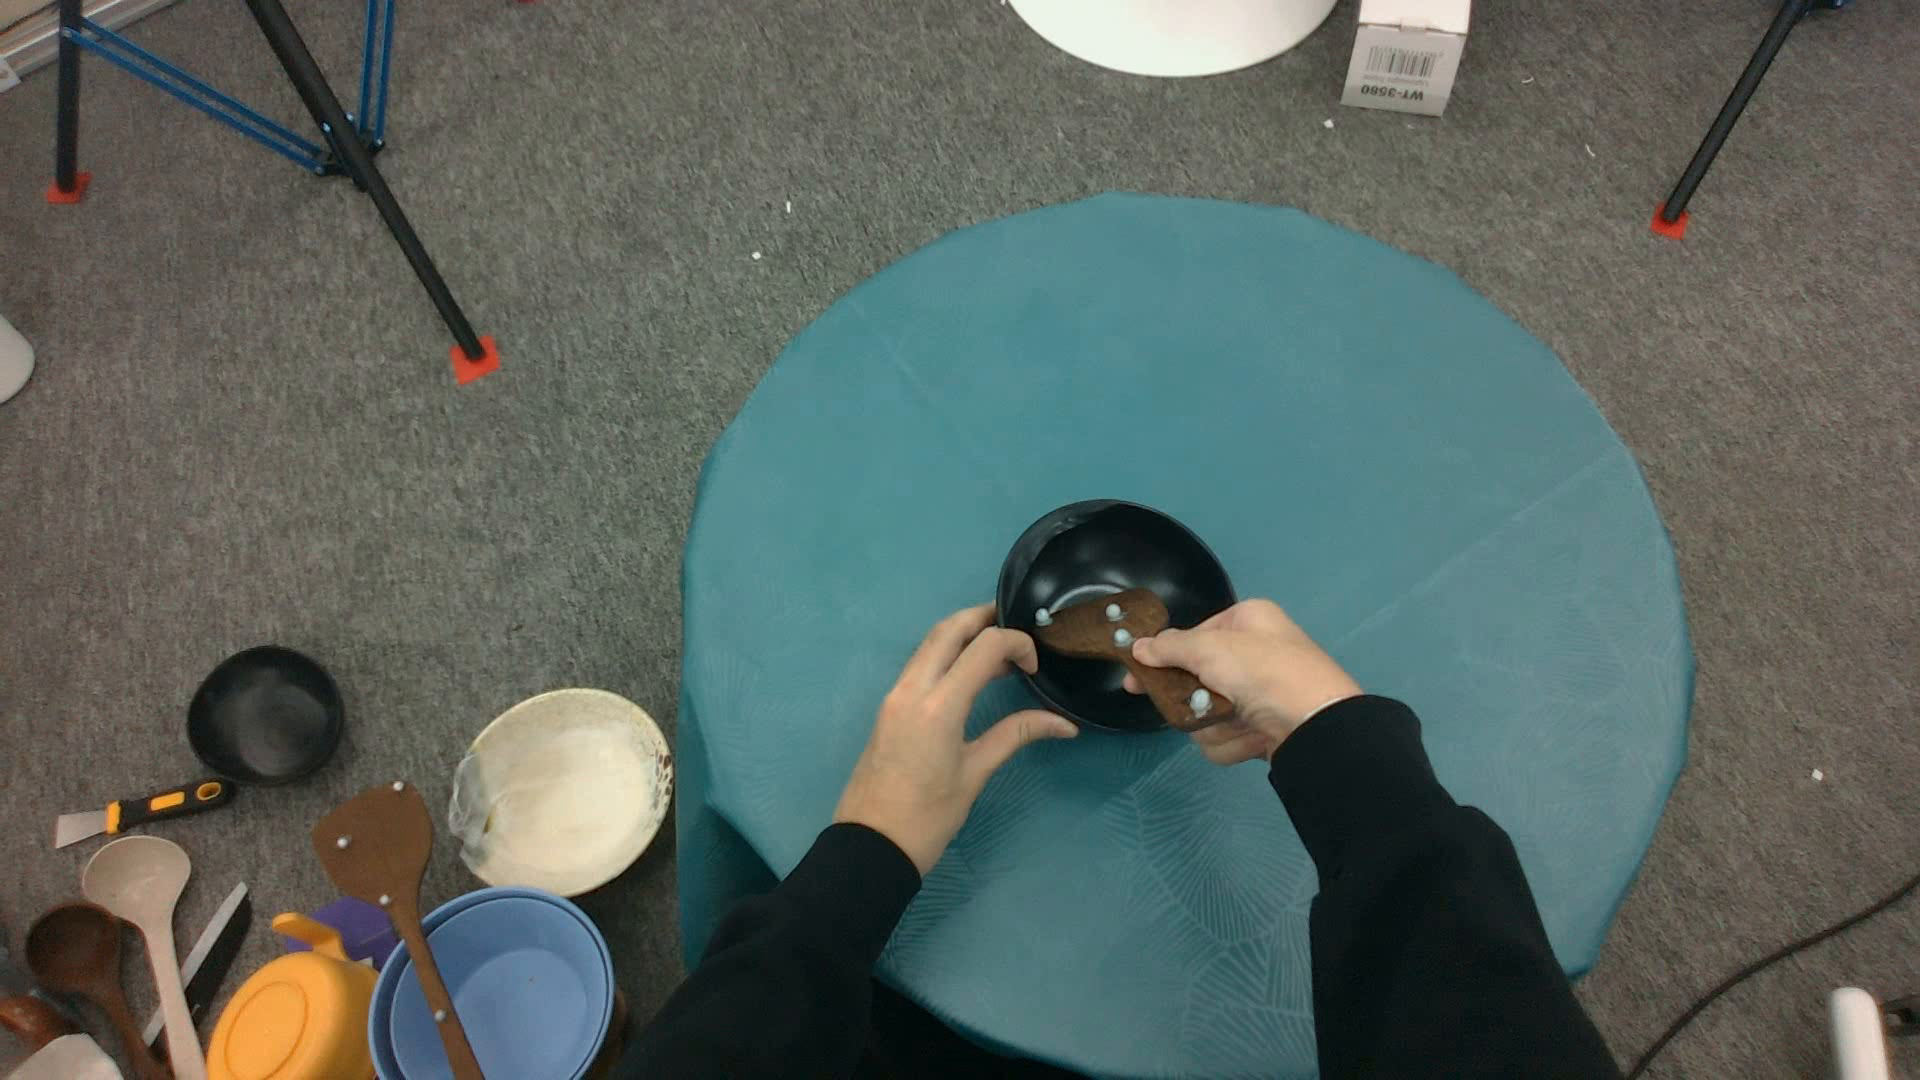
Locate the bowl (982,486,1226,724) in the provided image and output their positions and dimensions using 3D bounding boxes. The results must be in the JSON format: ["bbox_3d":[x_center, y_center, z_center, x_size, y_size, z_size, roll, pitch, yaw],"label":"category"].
[{"bbox_3d":[0.075,0.042,0.769,0.140,0.049,0.140,6,63,-11],"label":"bowl"}]

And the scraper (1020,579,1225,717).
[{"bbox_3d":[0.086,0.053,0.691,0.076,0.211,0.011,-15,102,-6],"label":"scraper"}]
